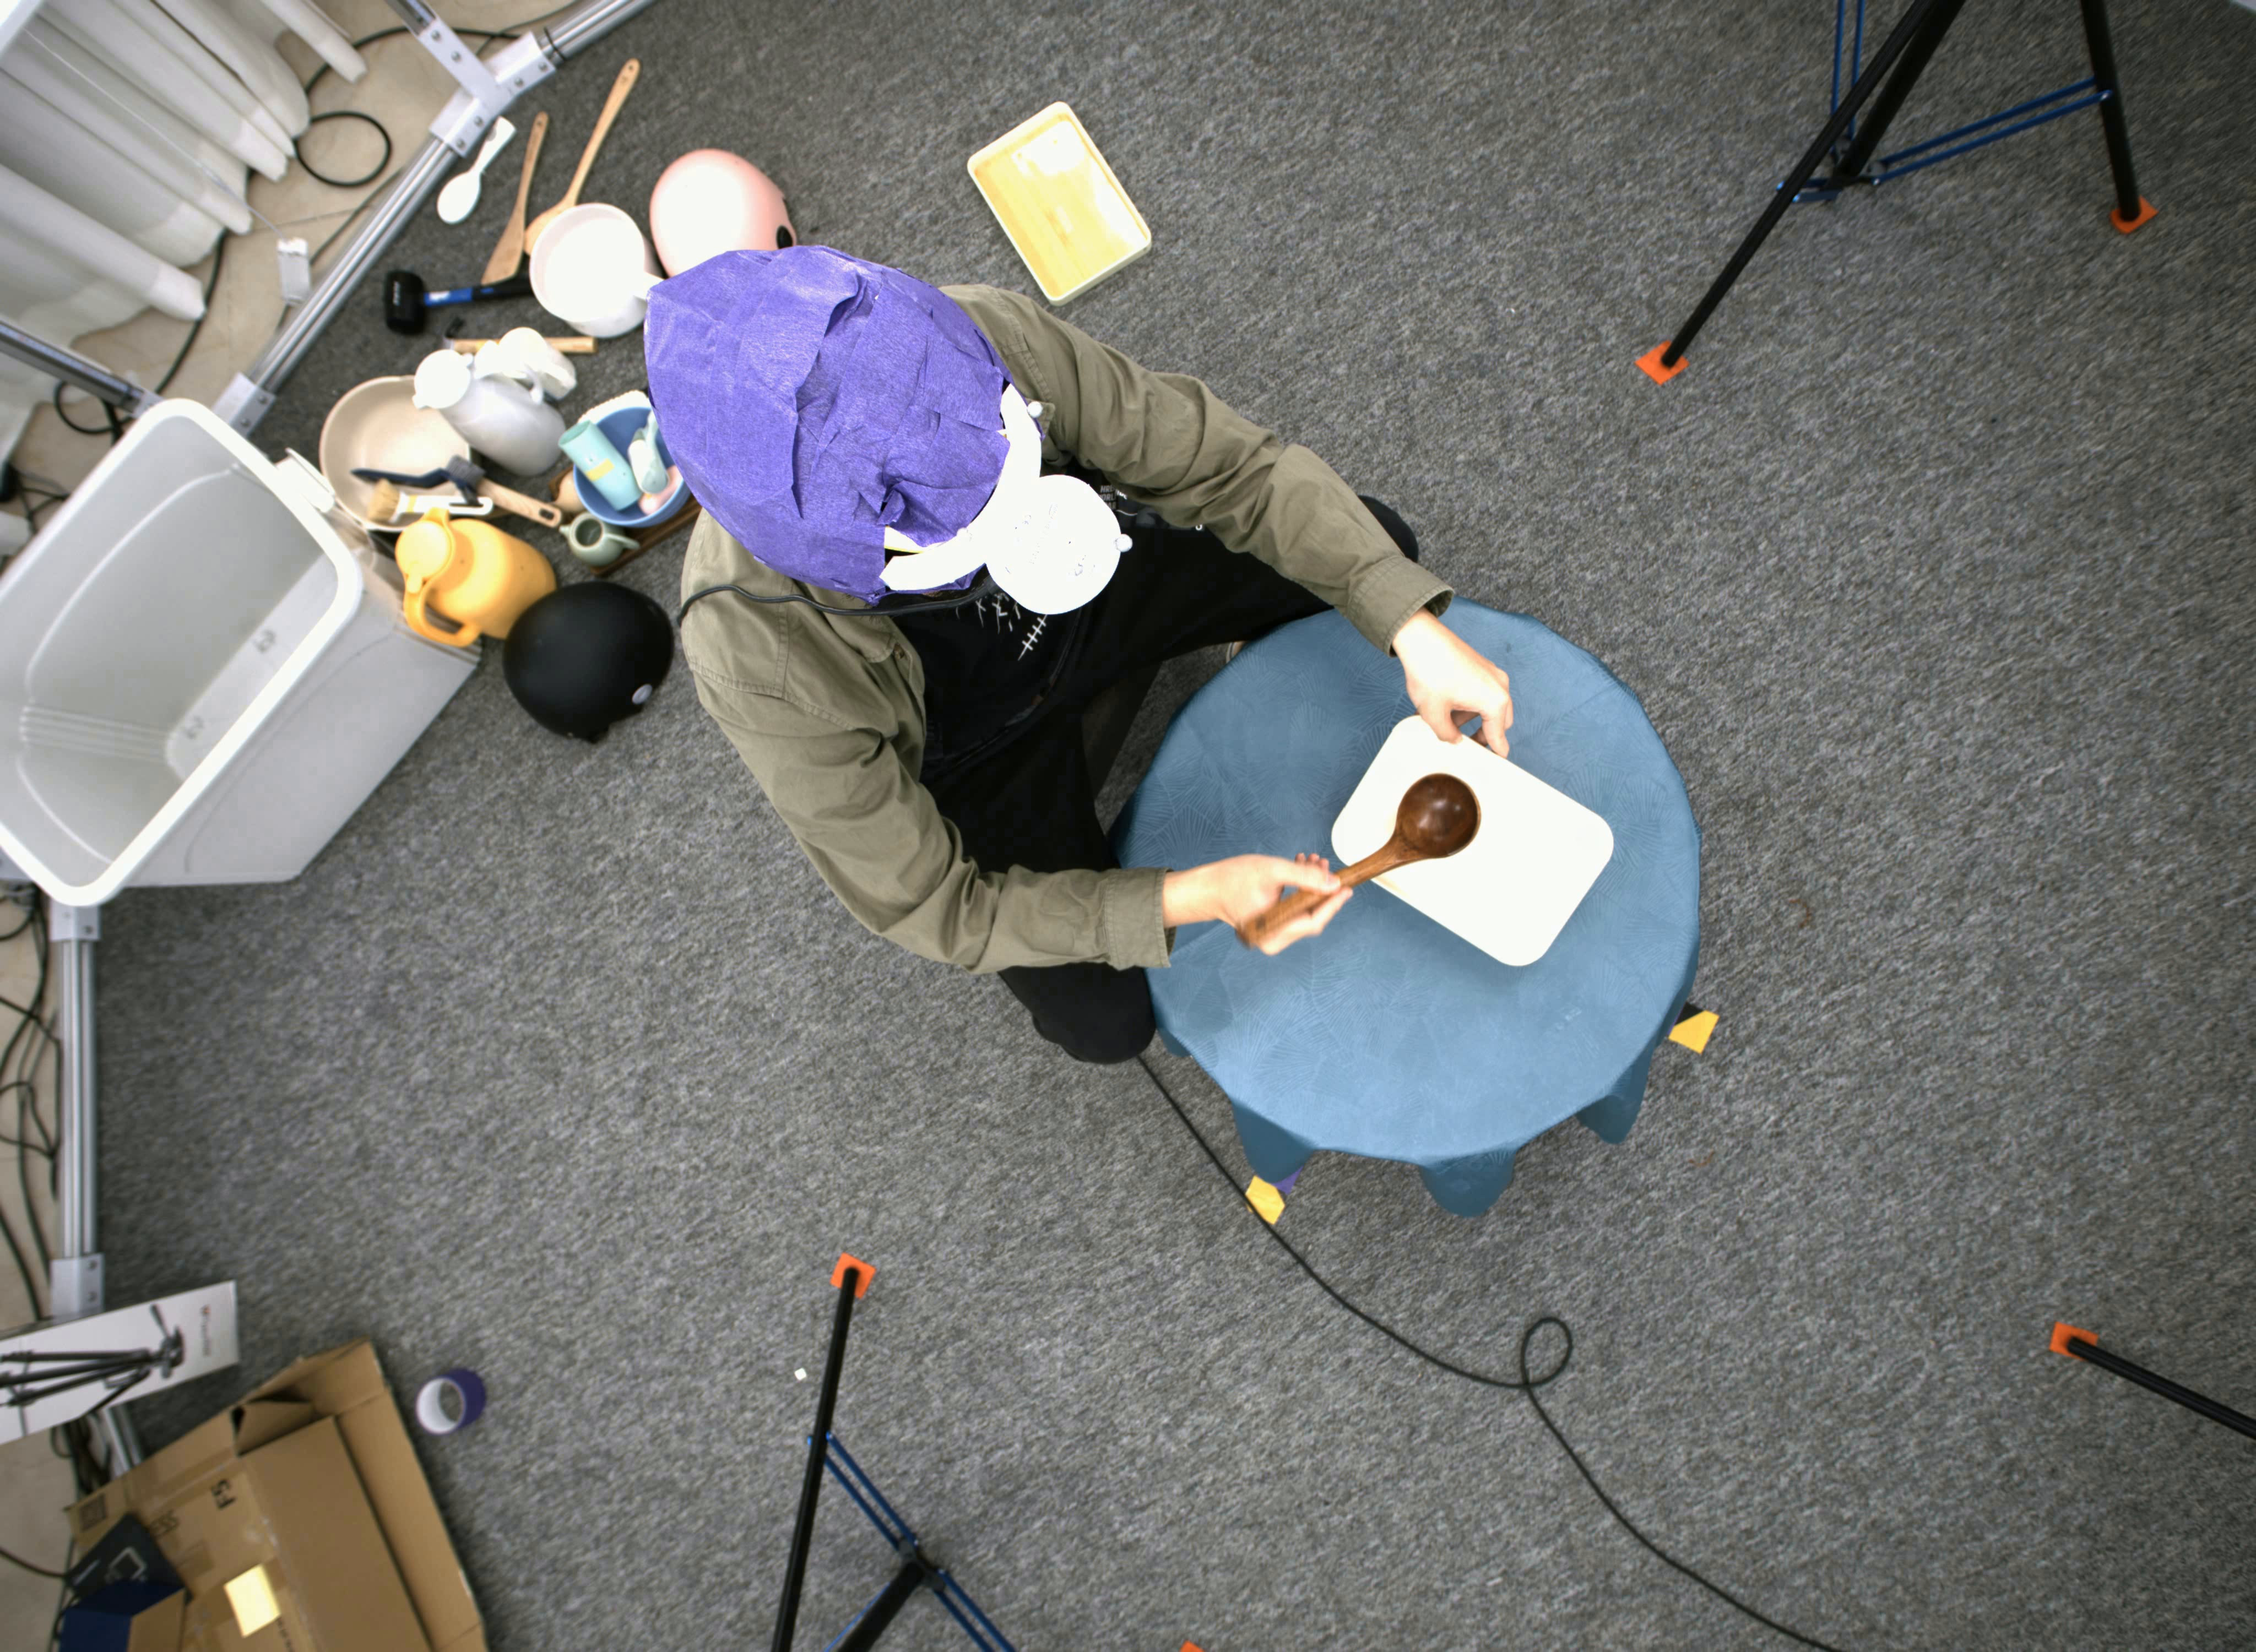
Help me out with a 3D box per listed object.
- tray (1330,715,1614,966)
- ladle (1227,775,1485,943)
[{"bbox_3d":[0.330,0.012,1.330,0.239,0.017,0.174,32,108,7],"label":"tray"},{"bbox_3d":[0.207,0.027,1.233,0.270,0.078,0.081,-21,47,-27],"label":"ladle"}]
